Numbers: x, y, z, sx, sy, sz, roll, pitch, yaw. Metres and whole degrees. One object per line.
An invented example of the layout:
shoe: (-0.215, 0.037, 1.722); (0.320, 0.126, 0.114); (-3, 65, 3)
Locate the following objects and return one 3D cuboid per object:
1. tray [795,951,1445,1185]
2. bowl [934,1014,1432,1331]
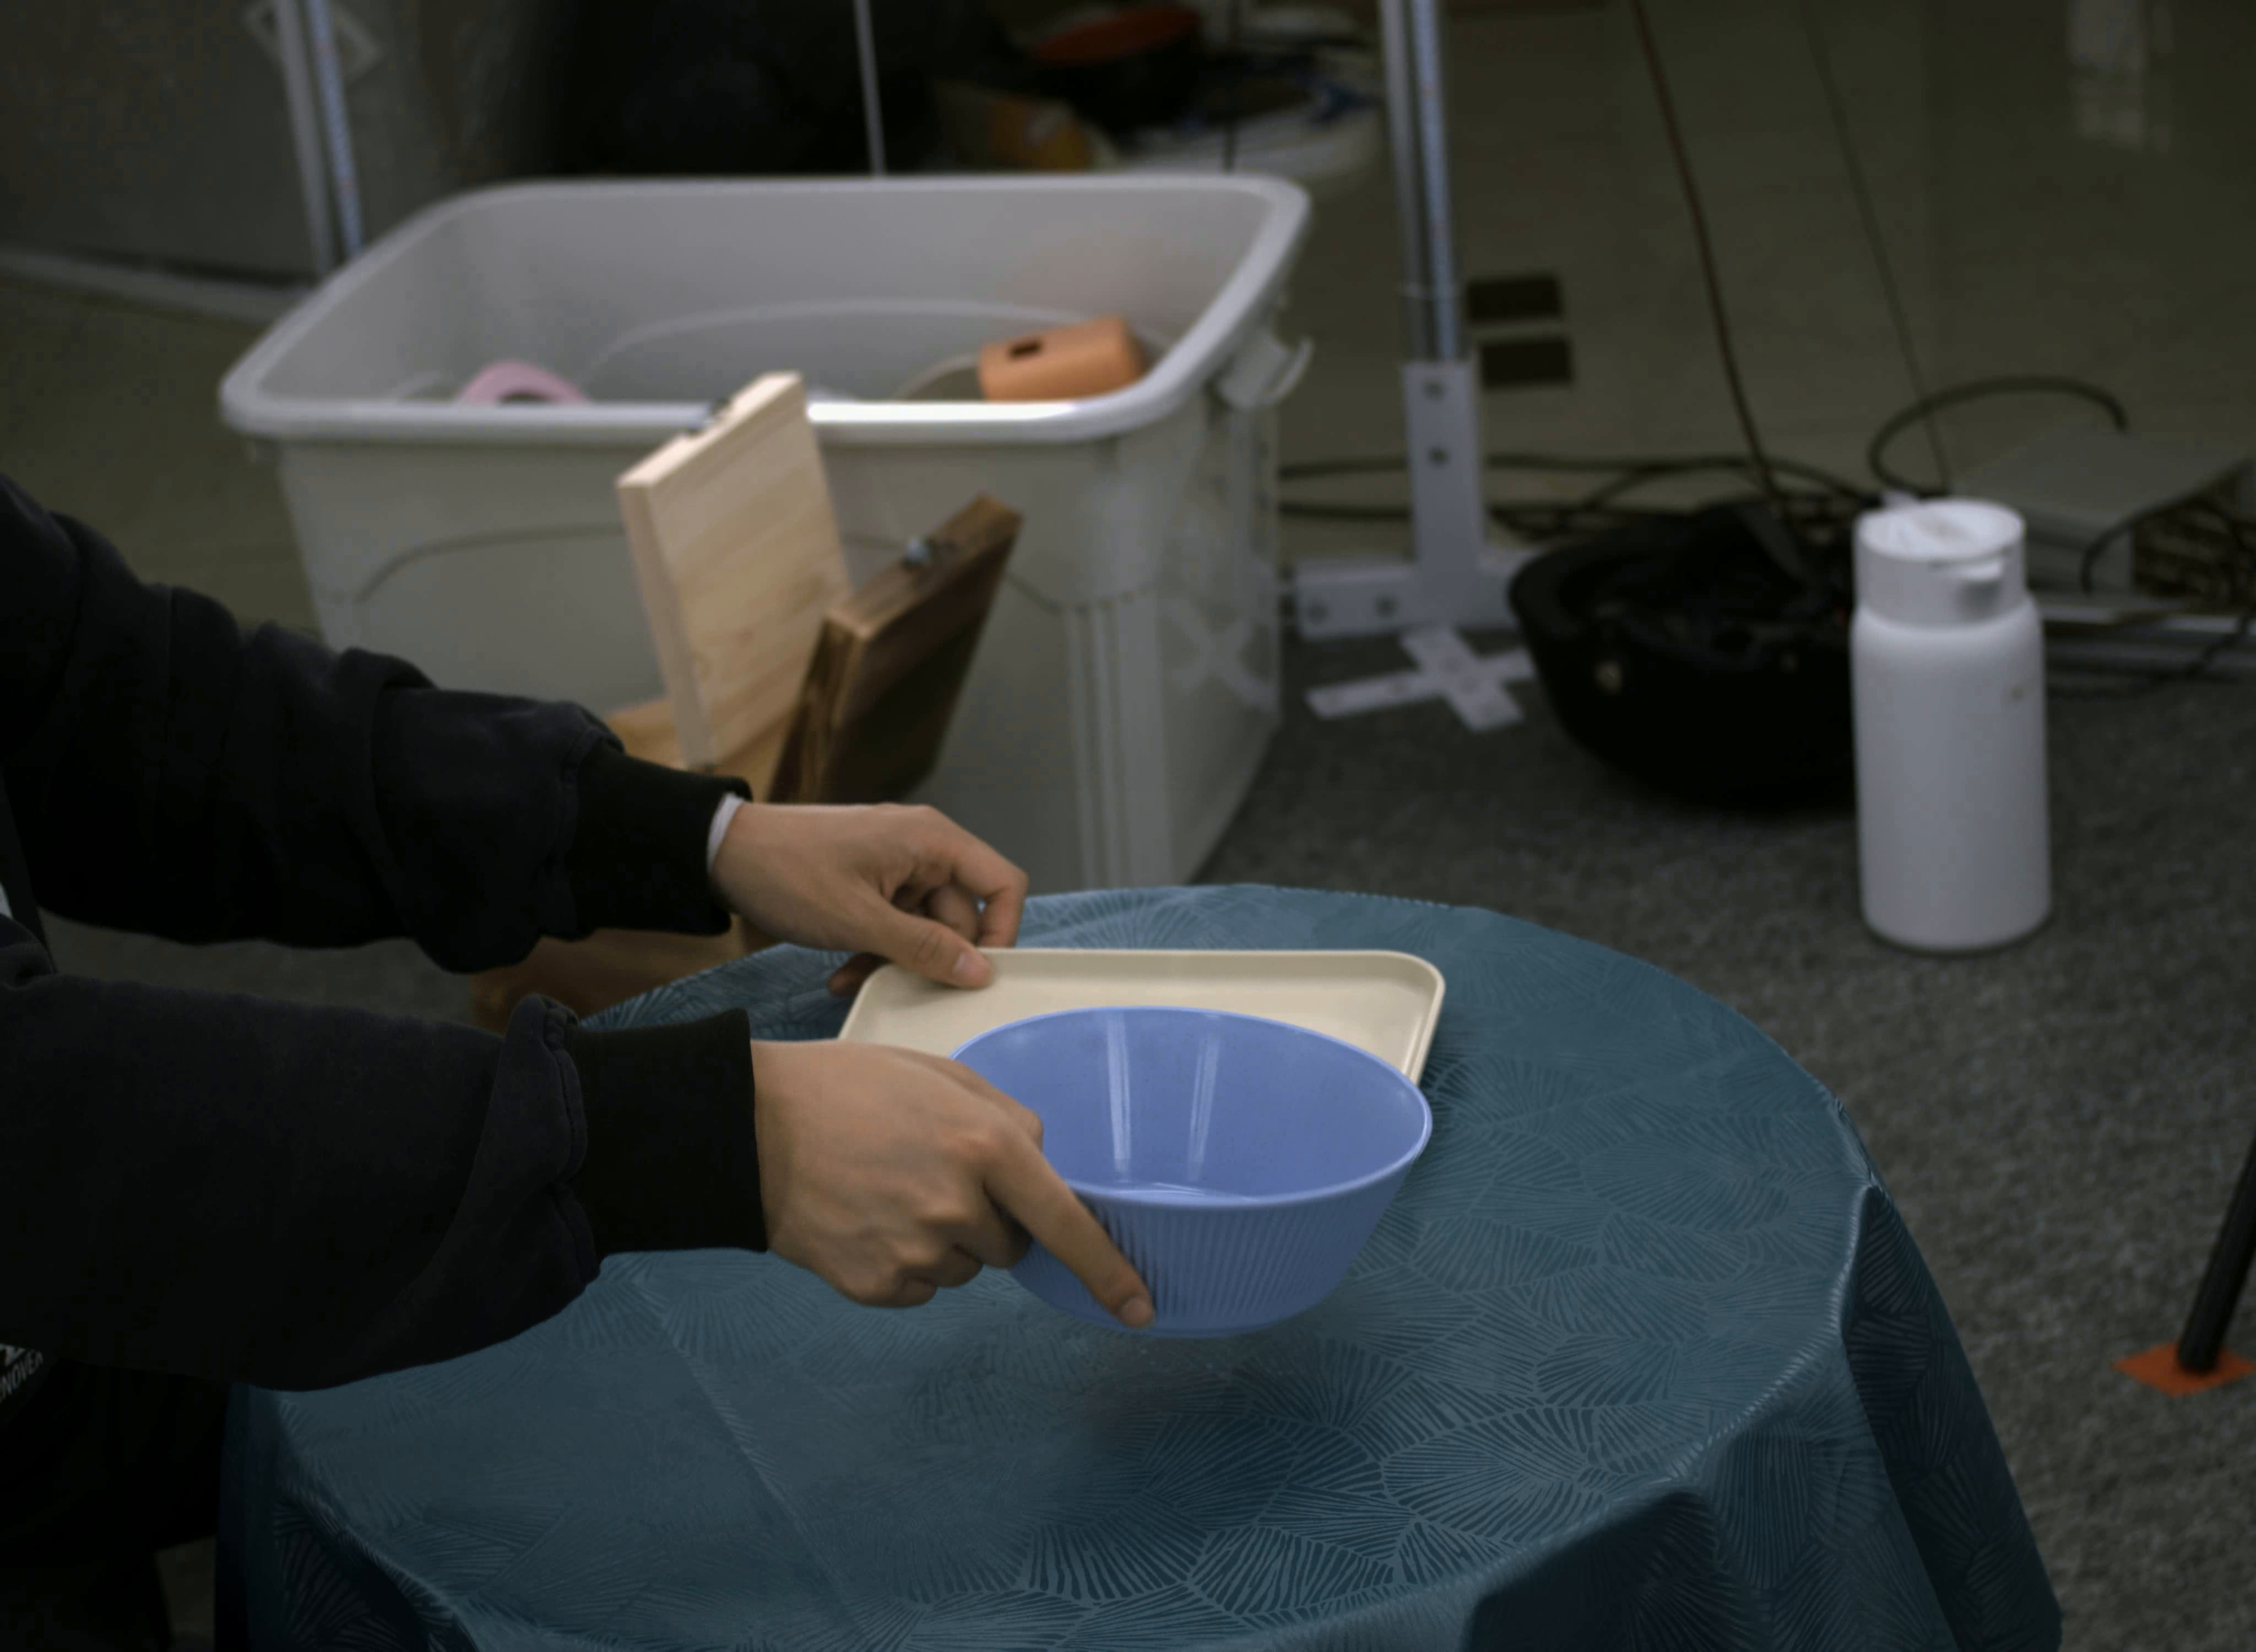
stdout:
tray: (-0.001, 0.096, 2.217); (0.239, 0.018, 0.169); (0, 27, 13)
bowl: (0.018, 0.126, 2.000); (0.176, 0.071, 0.174); (3, 18, -1)
